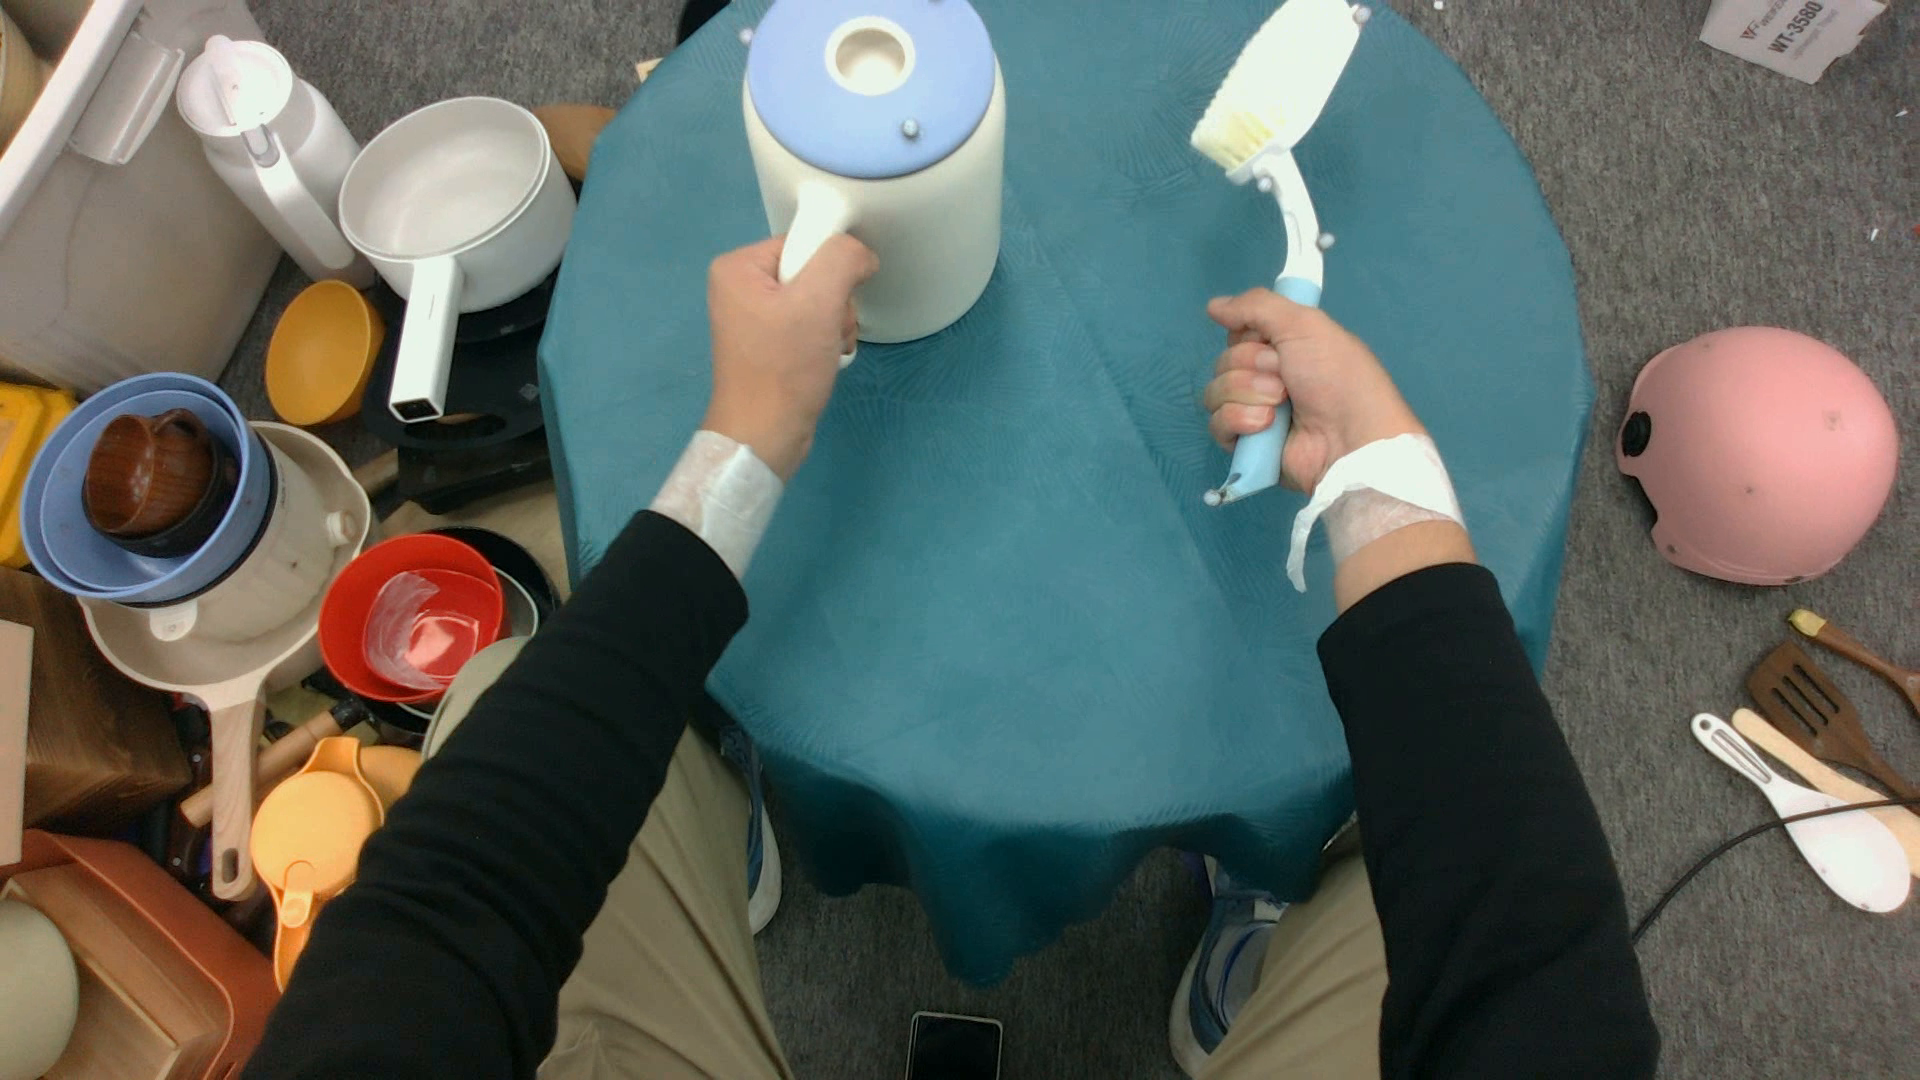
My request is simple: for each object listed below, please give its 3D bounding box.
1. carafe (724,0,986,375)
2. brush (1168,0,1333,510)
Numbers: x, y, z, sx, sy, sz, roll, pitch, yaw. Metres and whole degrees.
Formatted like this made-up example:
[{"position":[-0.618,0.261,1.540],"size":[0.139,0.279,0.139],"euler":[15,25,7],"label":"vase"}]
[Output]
[{"position":[-0.060,-0.183,0.729],"size":[0.132,0.182,0.191],"euler":[15,74,4],"label":"carafe"},{"position":[0.138,-0.171,0.726],"size":[0.084,0.083,0.326],"euler":[8,66,19],"label":"brush"}]
